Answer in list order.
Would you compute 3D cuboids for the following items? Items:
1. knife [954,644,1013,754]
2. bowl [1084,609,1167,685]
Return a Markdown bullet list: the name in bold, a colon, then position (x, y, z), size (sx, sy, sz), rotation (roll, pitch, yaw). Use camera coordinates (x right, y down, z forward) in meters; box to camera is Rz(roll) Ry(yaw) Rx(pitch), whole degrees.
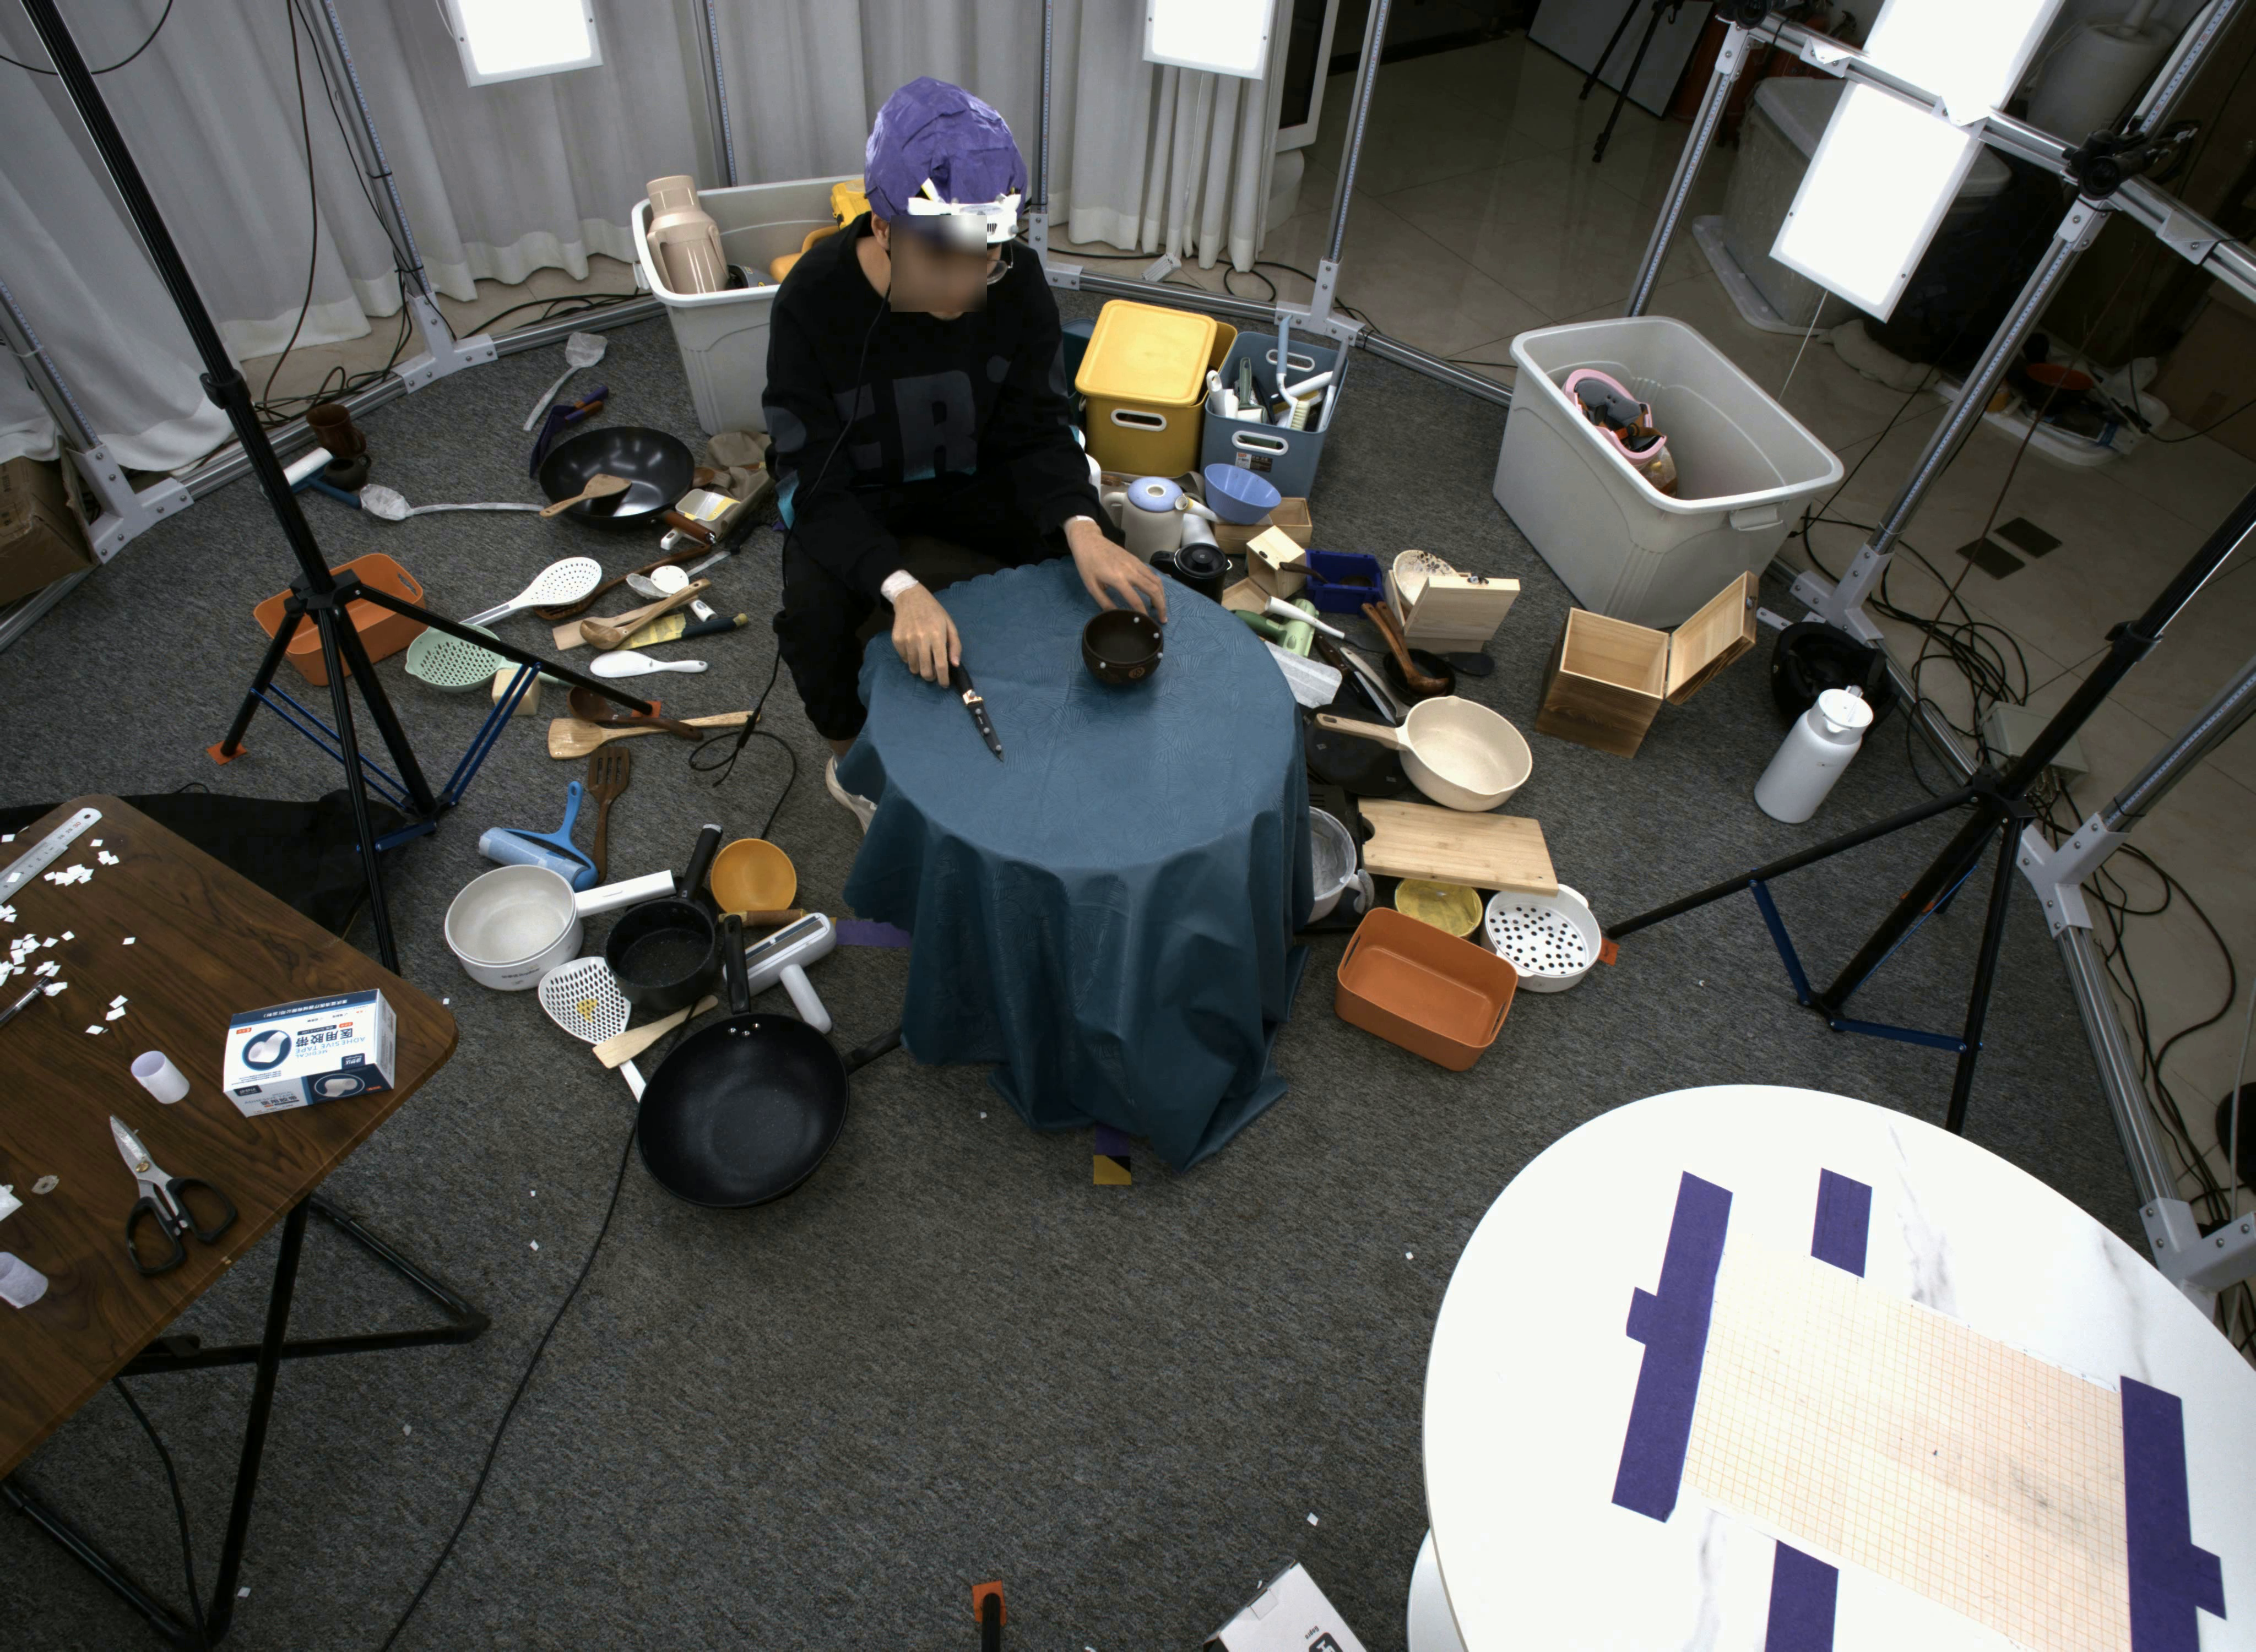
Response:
- **knife**: position (-0.201, -0.176, 1.790), size (0.017, 0.026, 0.231), rotation (2, 45, -36)
- **bowl**: position (-0.004, -0.247, 1.835), size (0.118, 0.068, 0.121), rotation (2, 47, -2)
